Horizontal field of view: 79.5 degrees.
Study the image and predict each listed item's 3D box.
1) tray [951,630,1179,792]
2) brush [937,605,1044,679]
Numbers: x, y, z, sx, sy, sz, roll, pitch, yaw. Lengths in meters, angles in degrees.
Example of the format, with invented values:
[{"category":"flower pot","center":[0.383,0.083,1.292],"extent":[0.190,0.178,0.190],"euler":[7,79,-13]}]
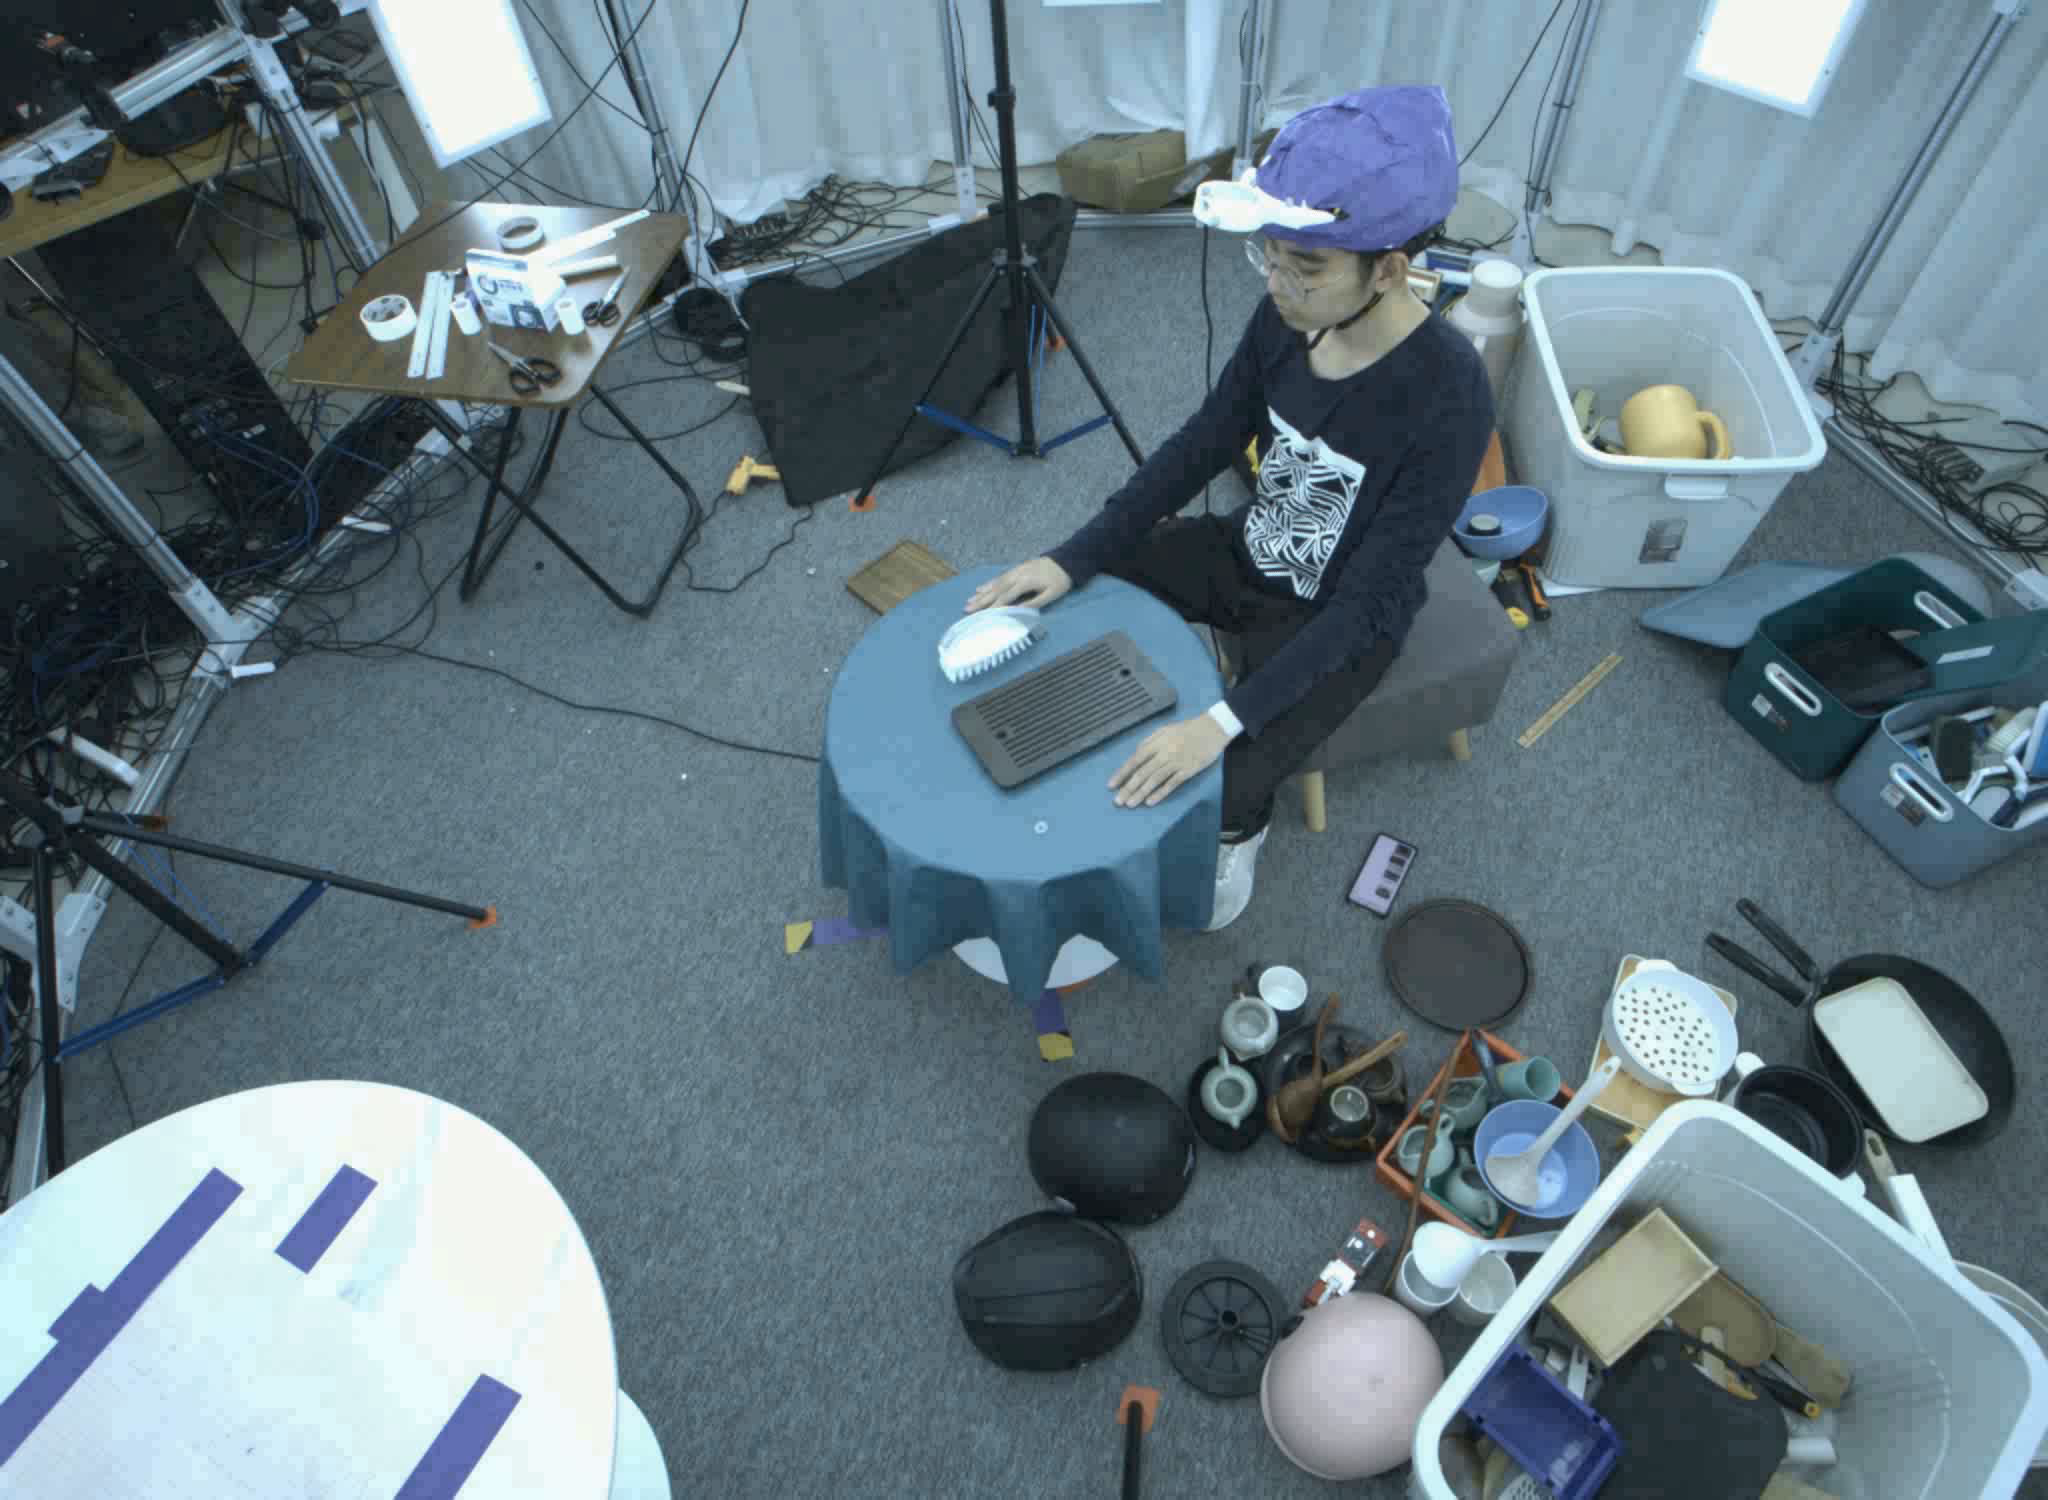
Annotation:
[{"category":"tray","center":[0.061,-0.060,1.810],"extent":[0.308,0.019,0.167],"euler":[-27,58,-16]},{"category":"brush","center":[-0.049,-0.180,1.854],"extent":[0.177,0.095,0.060],"euler":[-23,55,-15]}]
